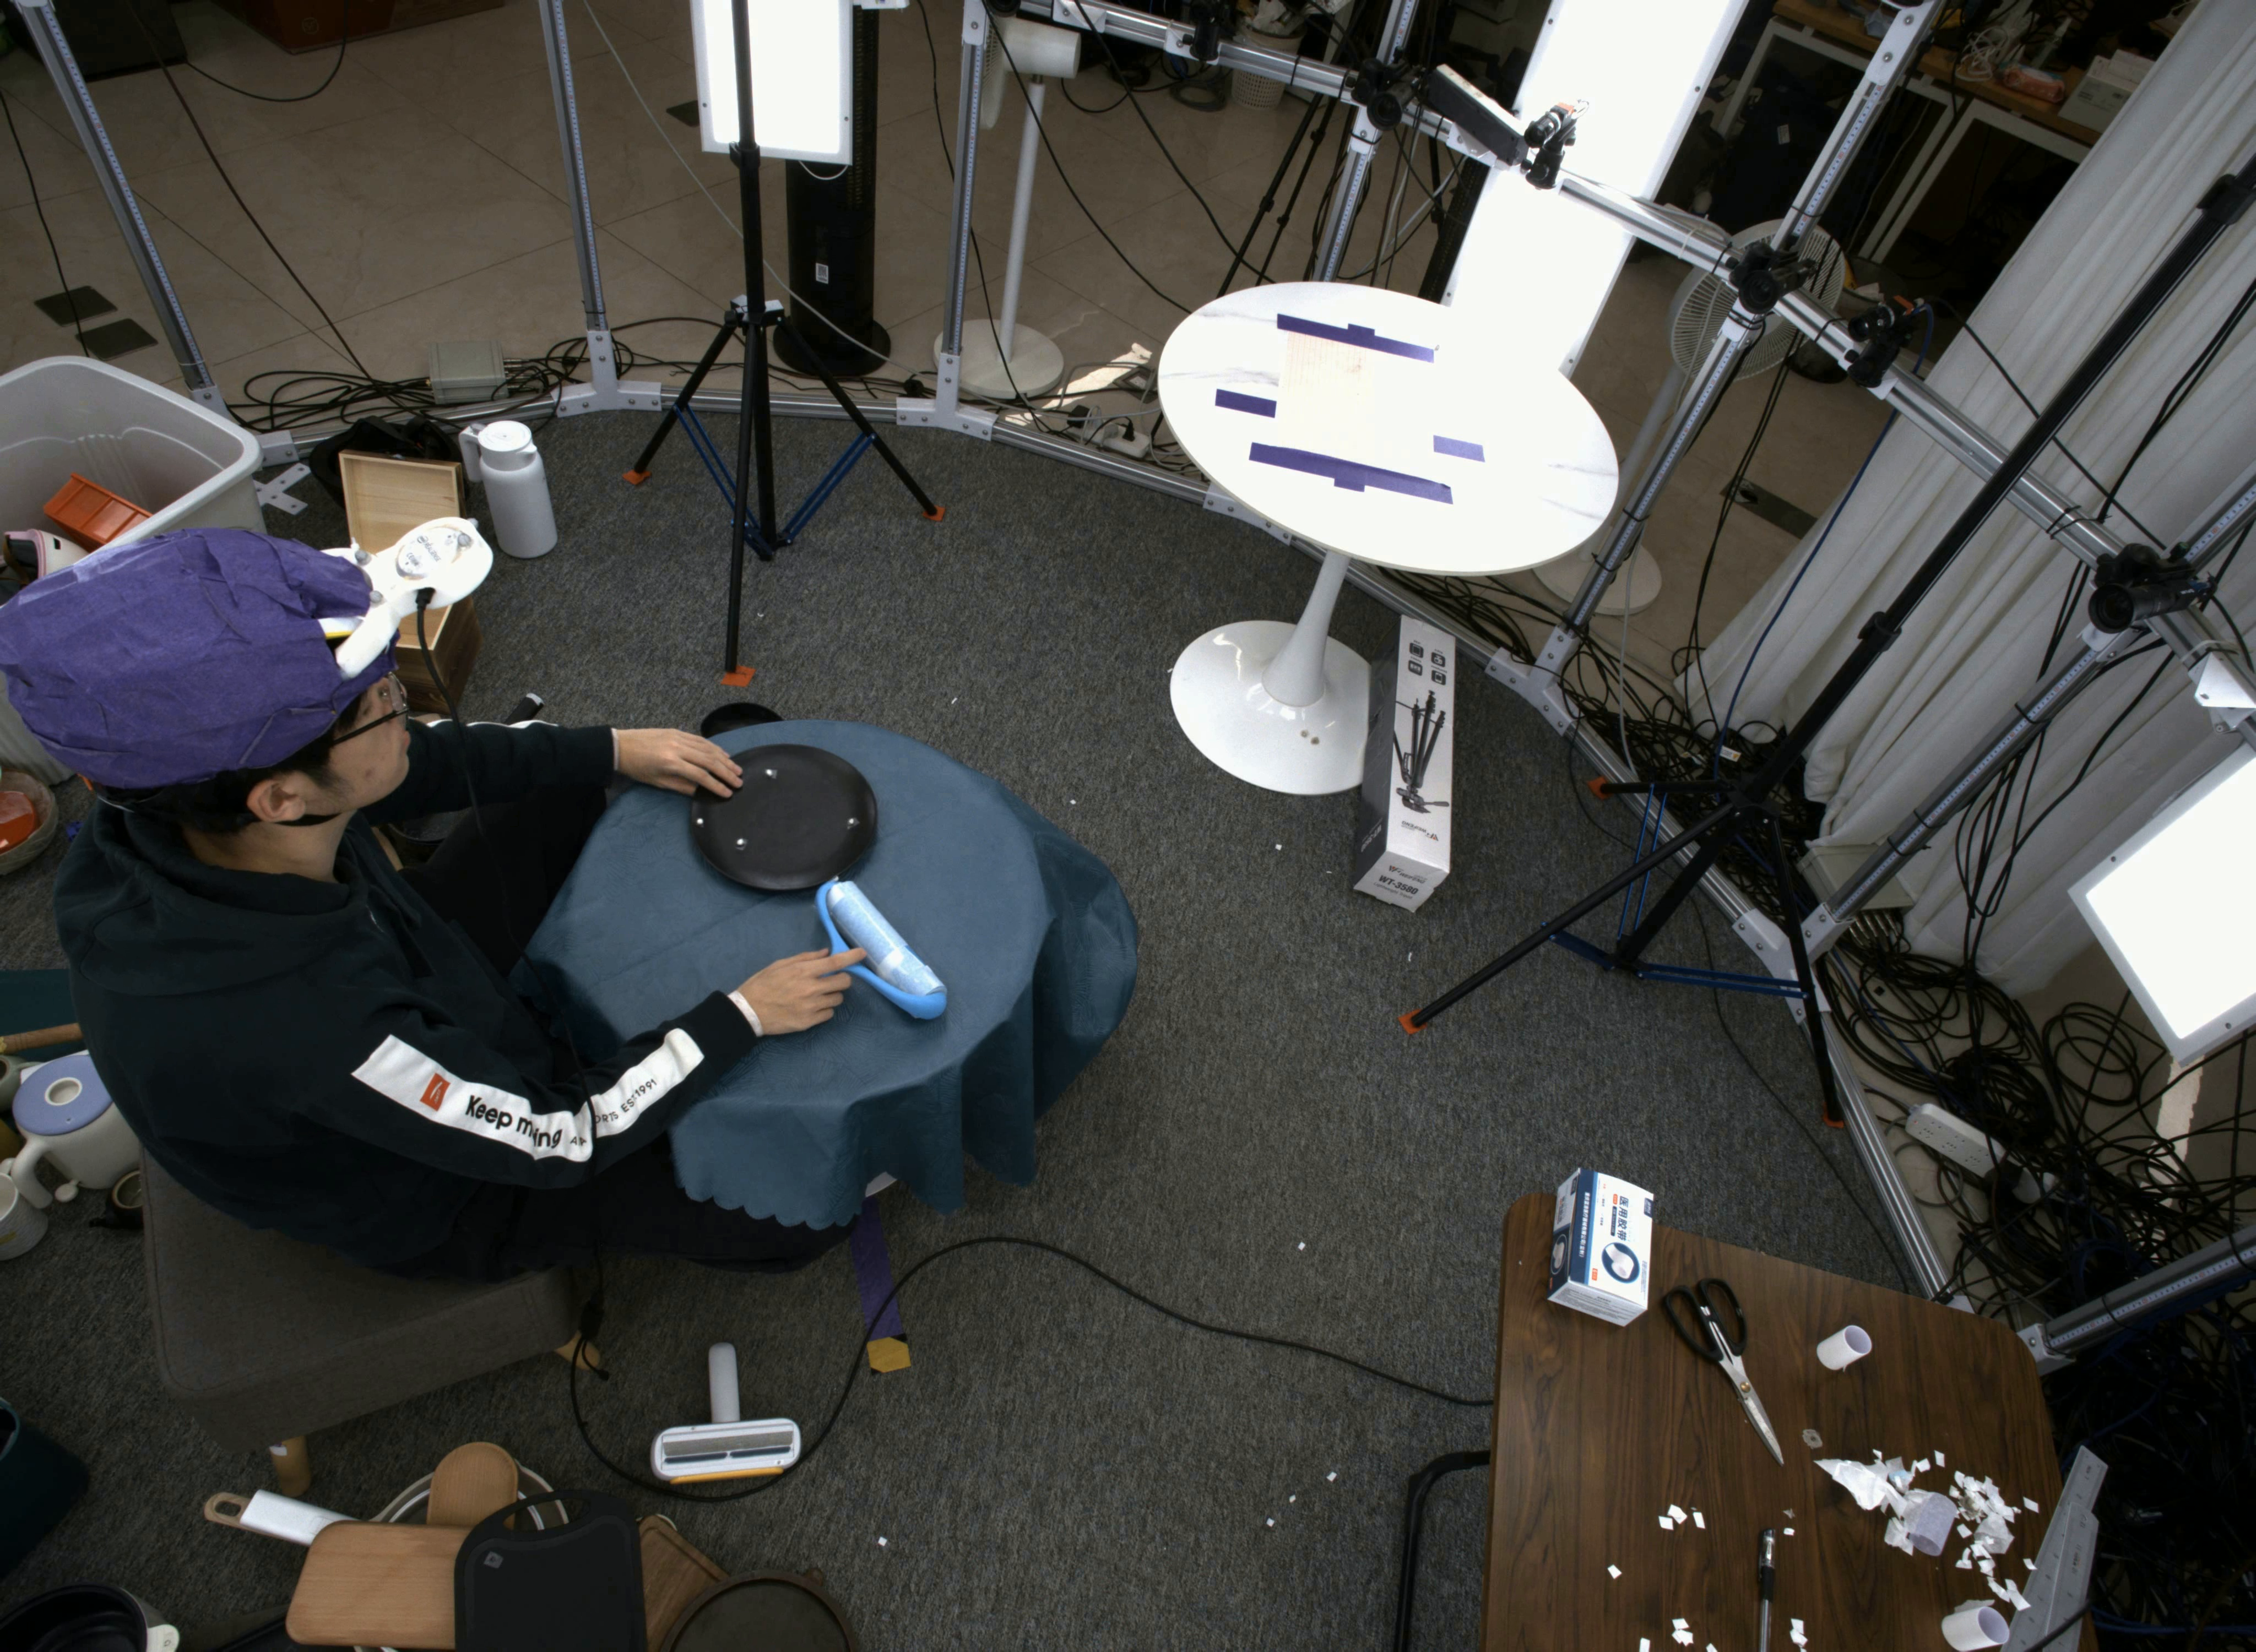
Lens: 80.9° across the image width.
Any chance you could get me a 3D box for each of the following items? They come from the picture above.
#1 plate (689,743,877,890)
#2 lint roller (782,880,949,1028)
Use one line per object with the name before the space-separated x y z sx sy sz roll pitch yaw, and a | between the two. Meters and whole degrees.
plate | -0.455 -0.012 1.716 0.244 0.024 0.240 8 53 -9
lint roller | -0.344 0.177 1.584 0.224 0.069 0.180 42 56 16
